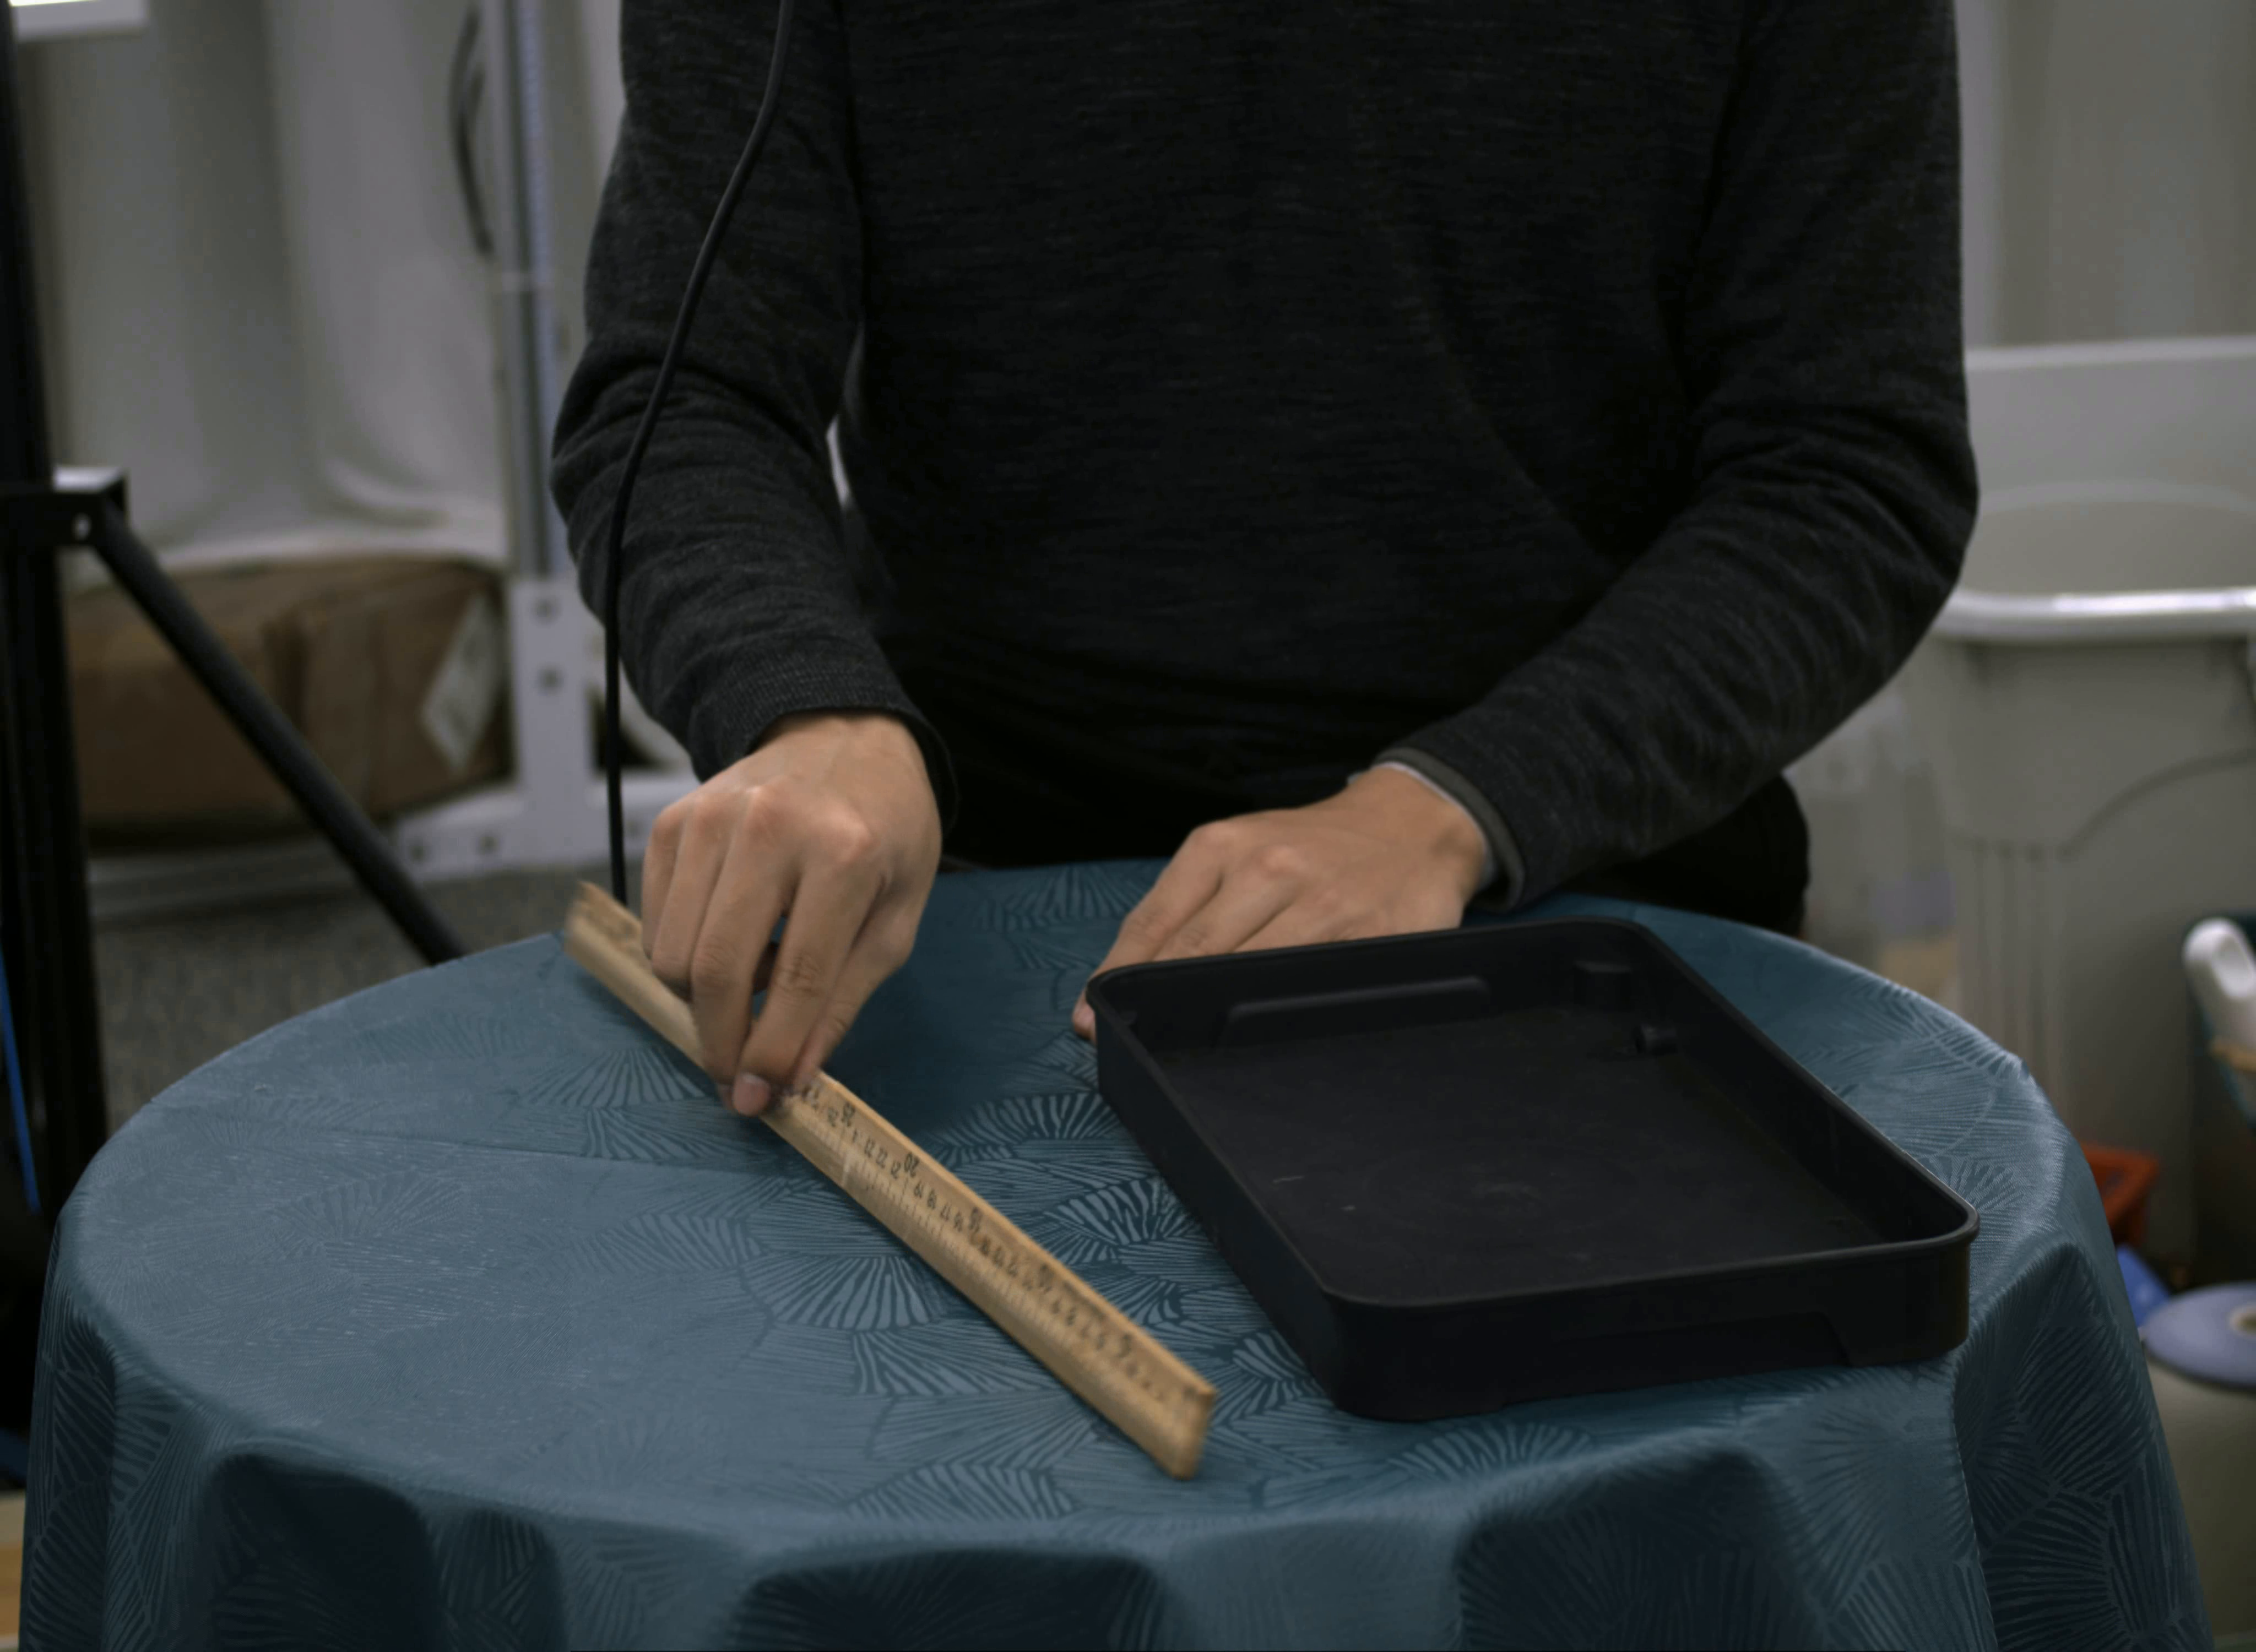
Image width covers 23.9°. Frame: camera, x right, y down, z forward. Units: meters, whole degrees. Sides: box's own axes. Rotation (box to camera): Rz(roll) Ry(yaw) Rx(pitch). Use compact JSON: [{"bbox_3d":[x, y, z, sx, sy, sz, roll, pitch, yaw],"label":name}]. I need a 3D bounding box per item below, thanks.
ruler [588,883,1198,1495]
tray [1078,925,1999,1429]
[{"bbox_3d":[-0.081,0.093,1.566,0.006,0.027,0.510,11,10,-25],"label":"ruler"},{"bbox_3d":[0.109,0.094,1.523,0.181,0.037,0.322,-6,15,-13],"label":"tray"}]
